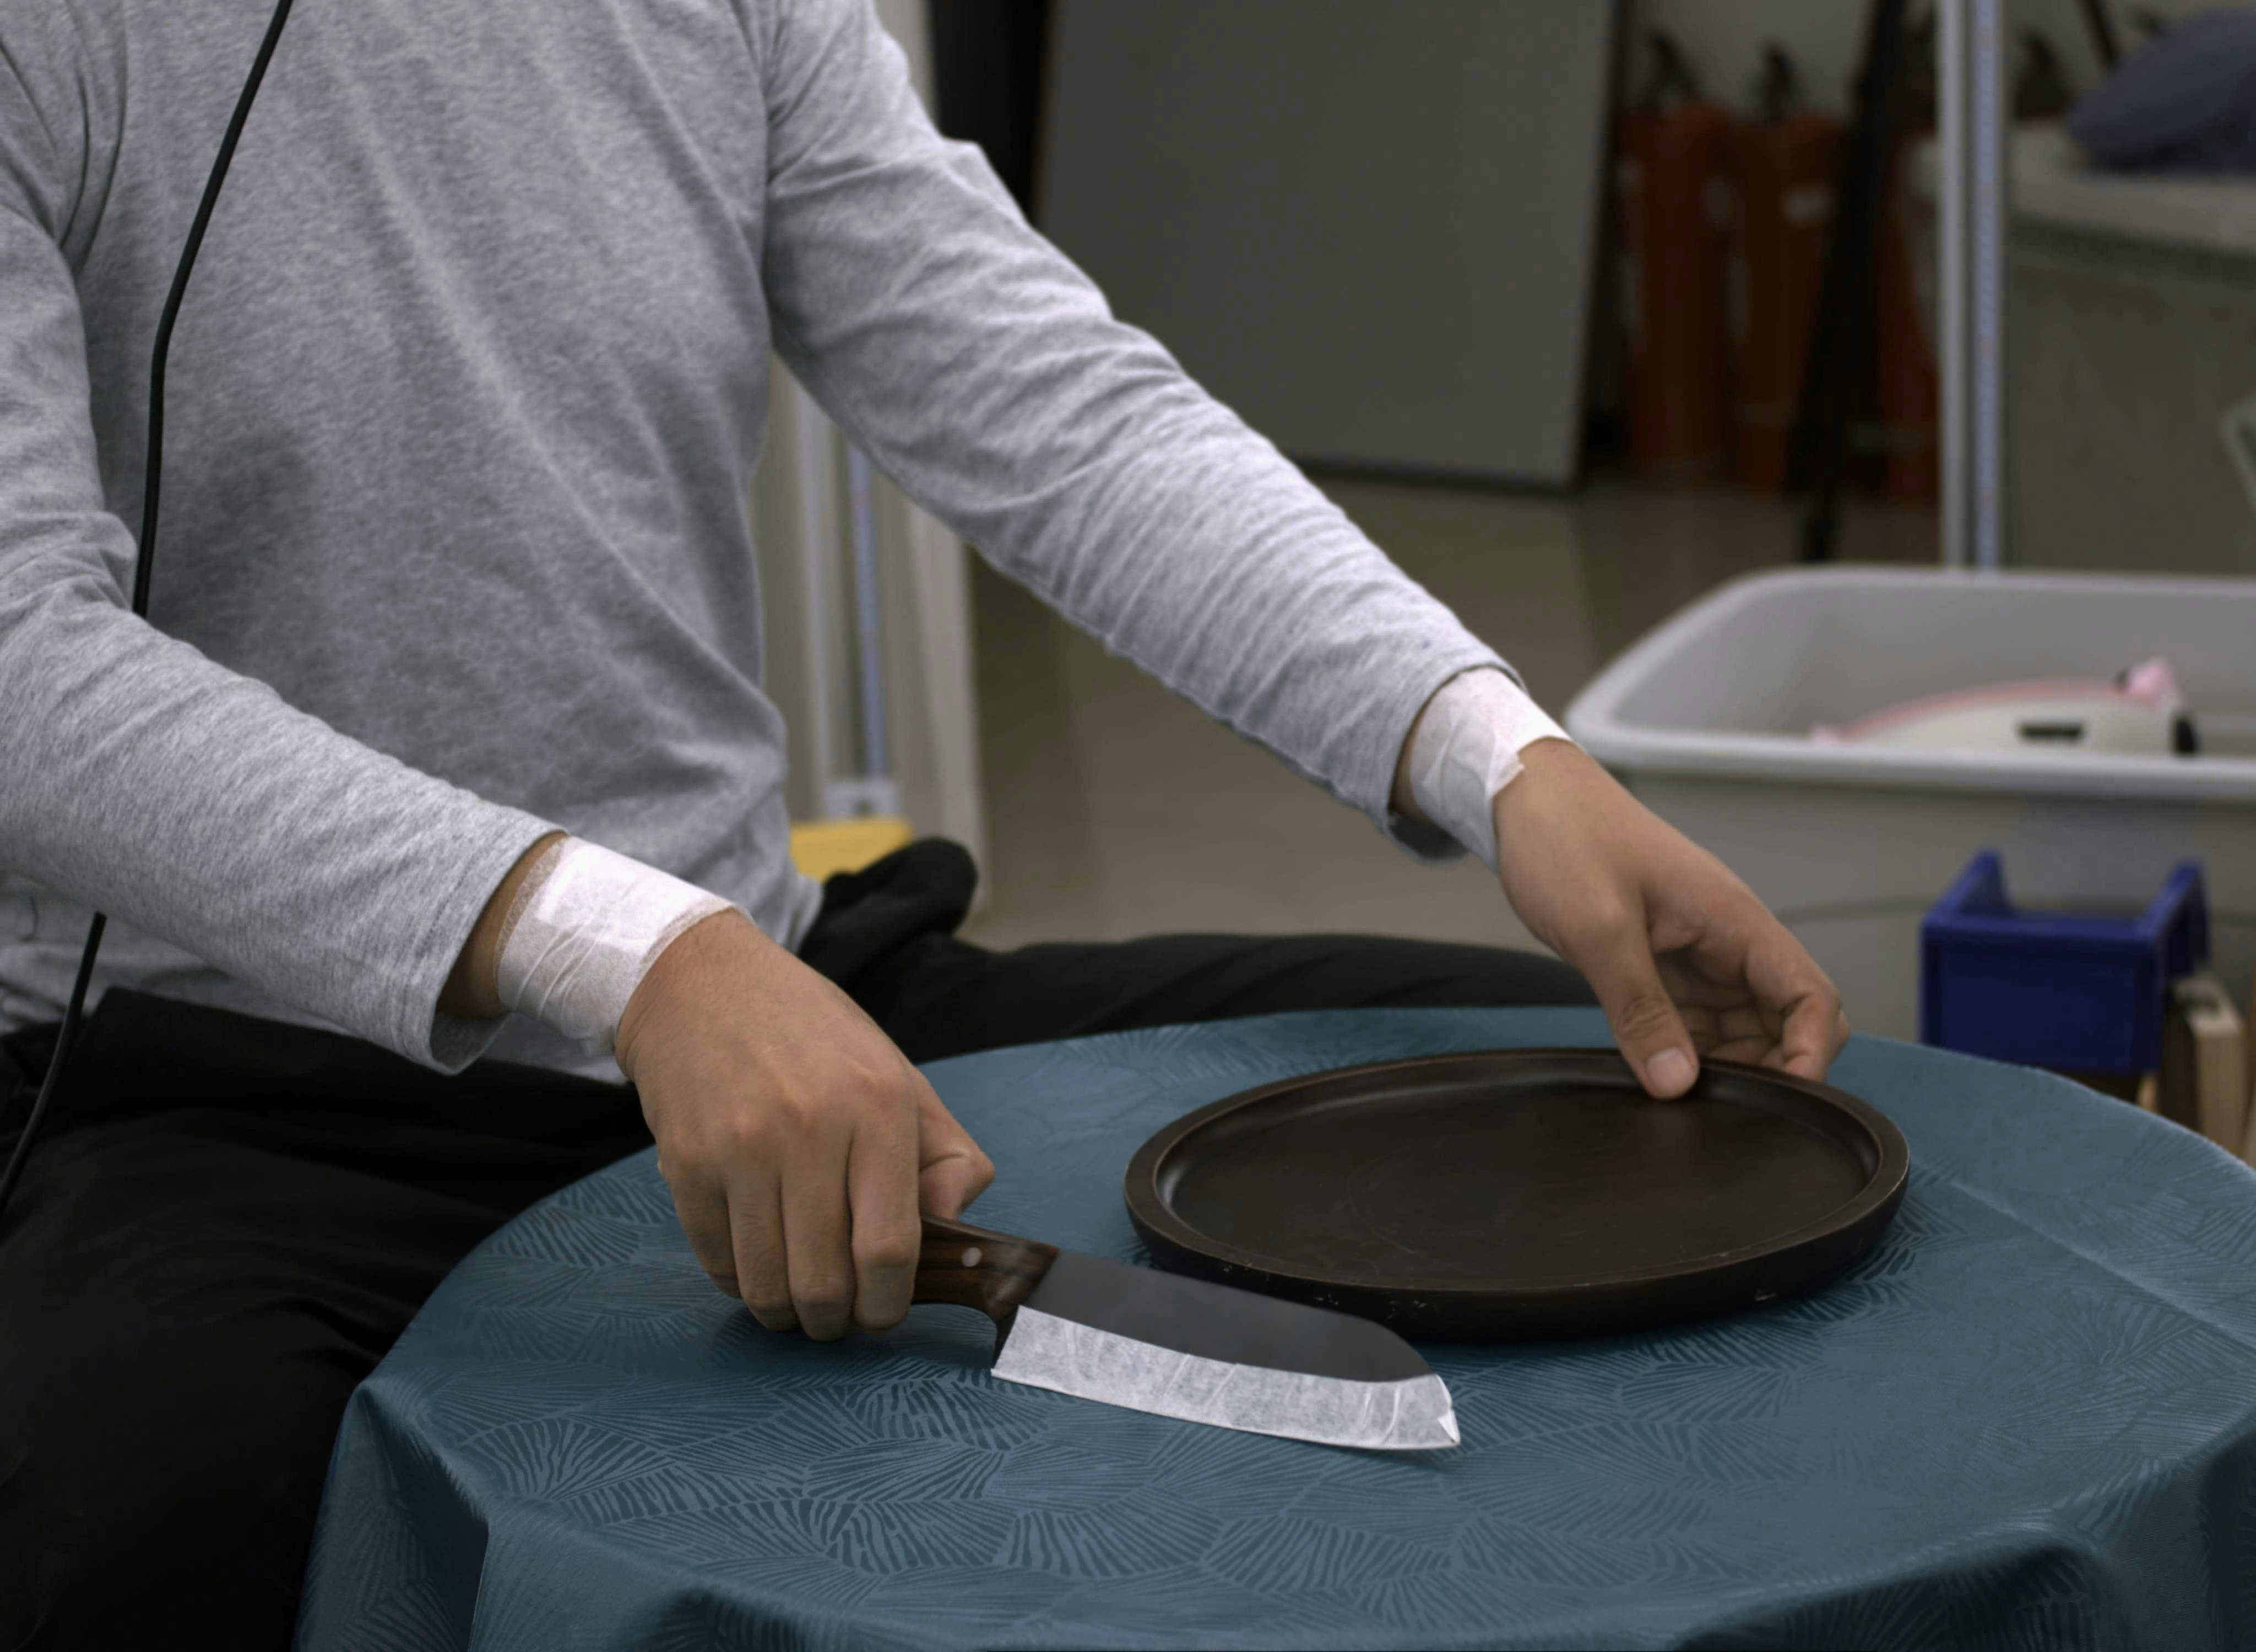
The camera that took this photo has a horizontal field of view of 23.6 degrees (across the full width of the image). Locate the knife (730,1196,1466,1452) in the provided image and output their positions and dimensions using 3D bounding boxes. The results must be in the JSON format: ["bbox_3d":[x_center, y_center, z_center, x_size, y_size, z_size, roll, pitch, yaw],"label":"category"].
[{"bbox_3d":[-0.013,0.147,1.600,0.291,0.020,0.050,12,64,40],"label":"knife"}]

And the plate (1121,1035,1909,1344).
[{"bbox_3d":[0.123,0.116,1.710,0.251,0.029,0.255,-6,14,1],"label":"plate"}]
